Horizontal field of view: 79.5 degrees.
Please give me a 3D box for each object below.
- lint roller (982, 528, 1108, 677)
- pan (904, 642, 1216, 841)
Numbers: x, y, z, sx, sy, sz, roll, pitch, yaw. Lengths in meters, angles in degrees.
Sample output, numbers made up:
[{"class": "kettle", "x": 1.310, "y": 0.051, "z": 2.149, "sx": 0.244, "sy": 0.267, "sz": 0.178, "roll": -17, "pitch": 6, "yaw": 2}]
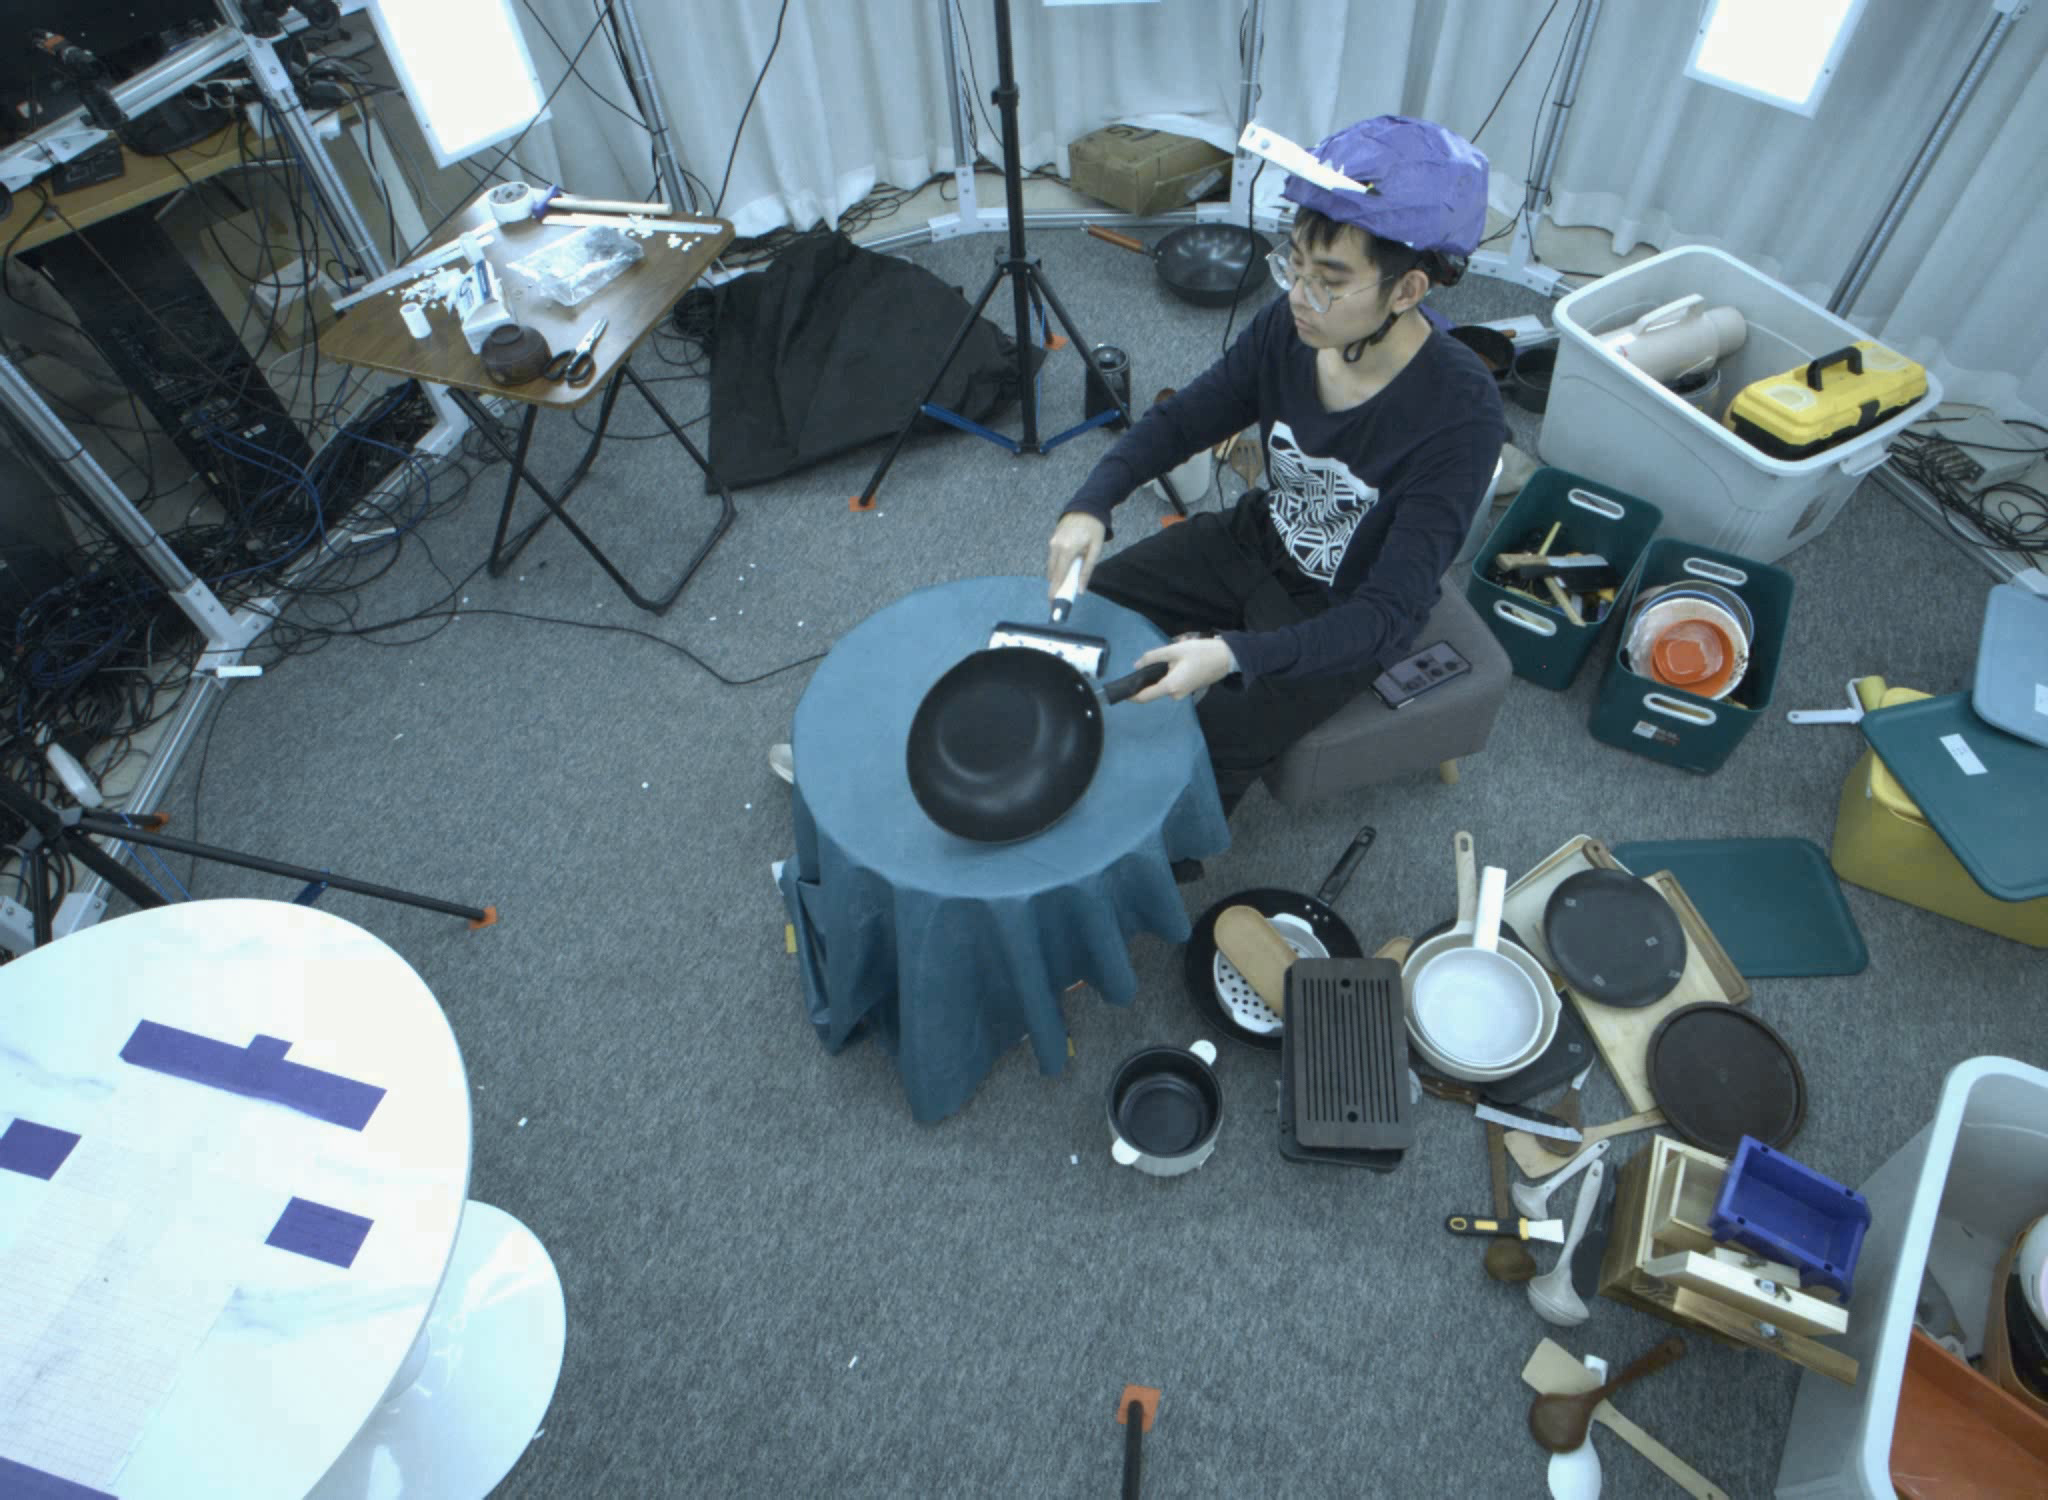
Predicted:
[{"class": "lint roller", "x": 0.053, "y": -0.227, "z": 1.791, "sx": 0.174, "sy": 0.051, "sz": 0.246, "roll": 11, "pitch": 67, "yaw": 13}, {"class": "pan", "x": 0.044, "y": -0.059, "z": 1.676, "sx": 0.466, "sy": 0.292, "sz": 0.085, "roll": -26, "pitch": 30, "yaw": -12}]
